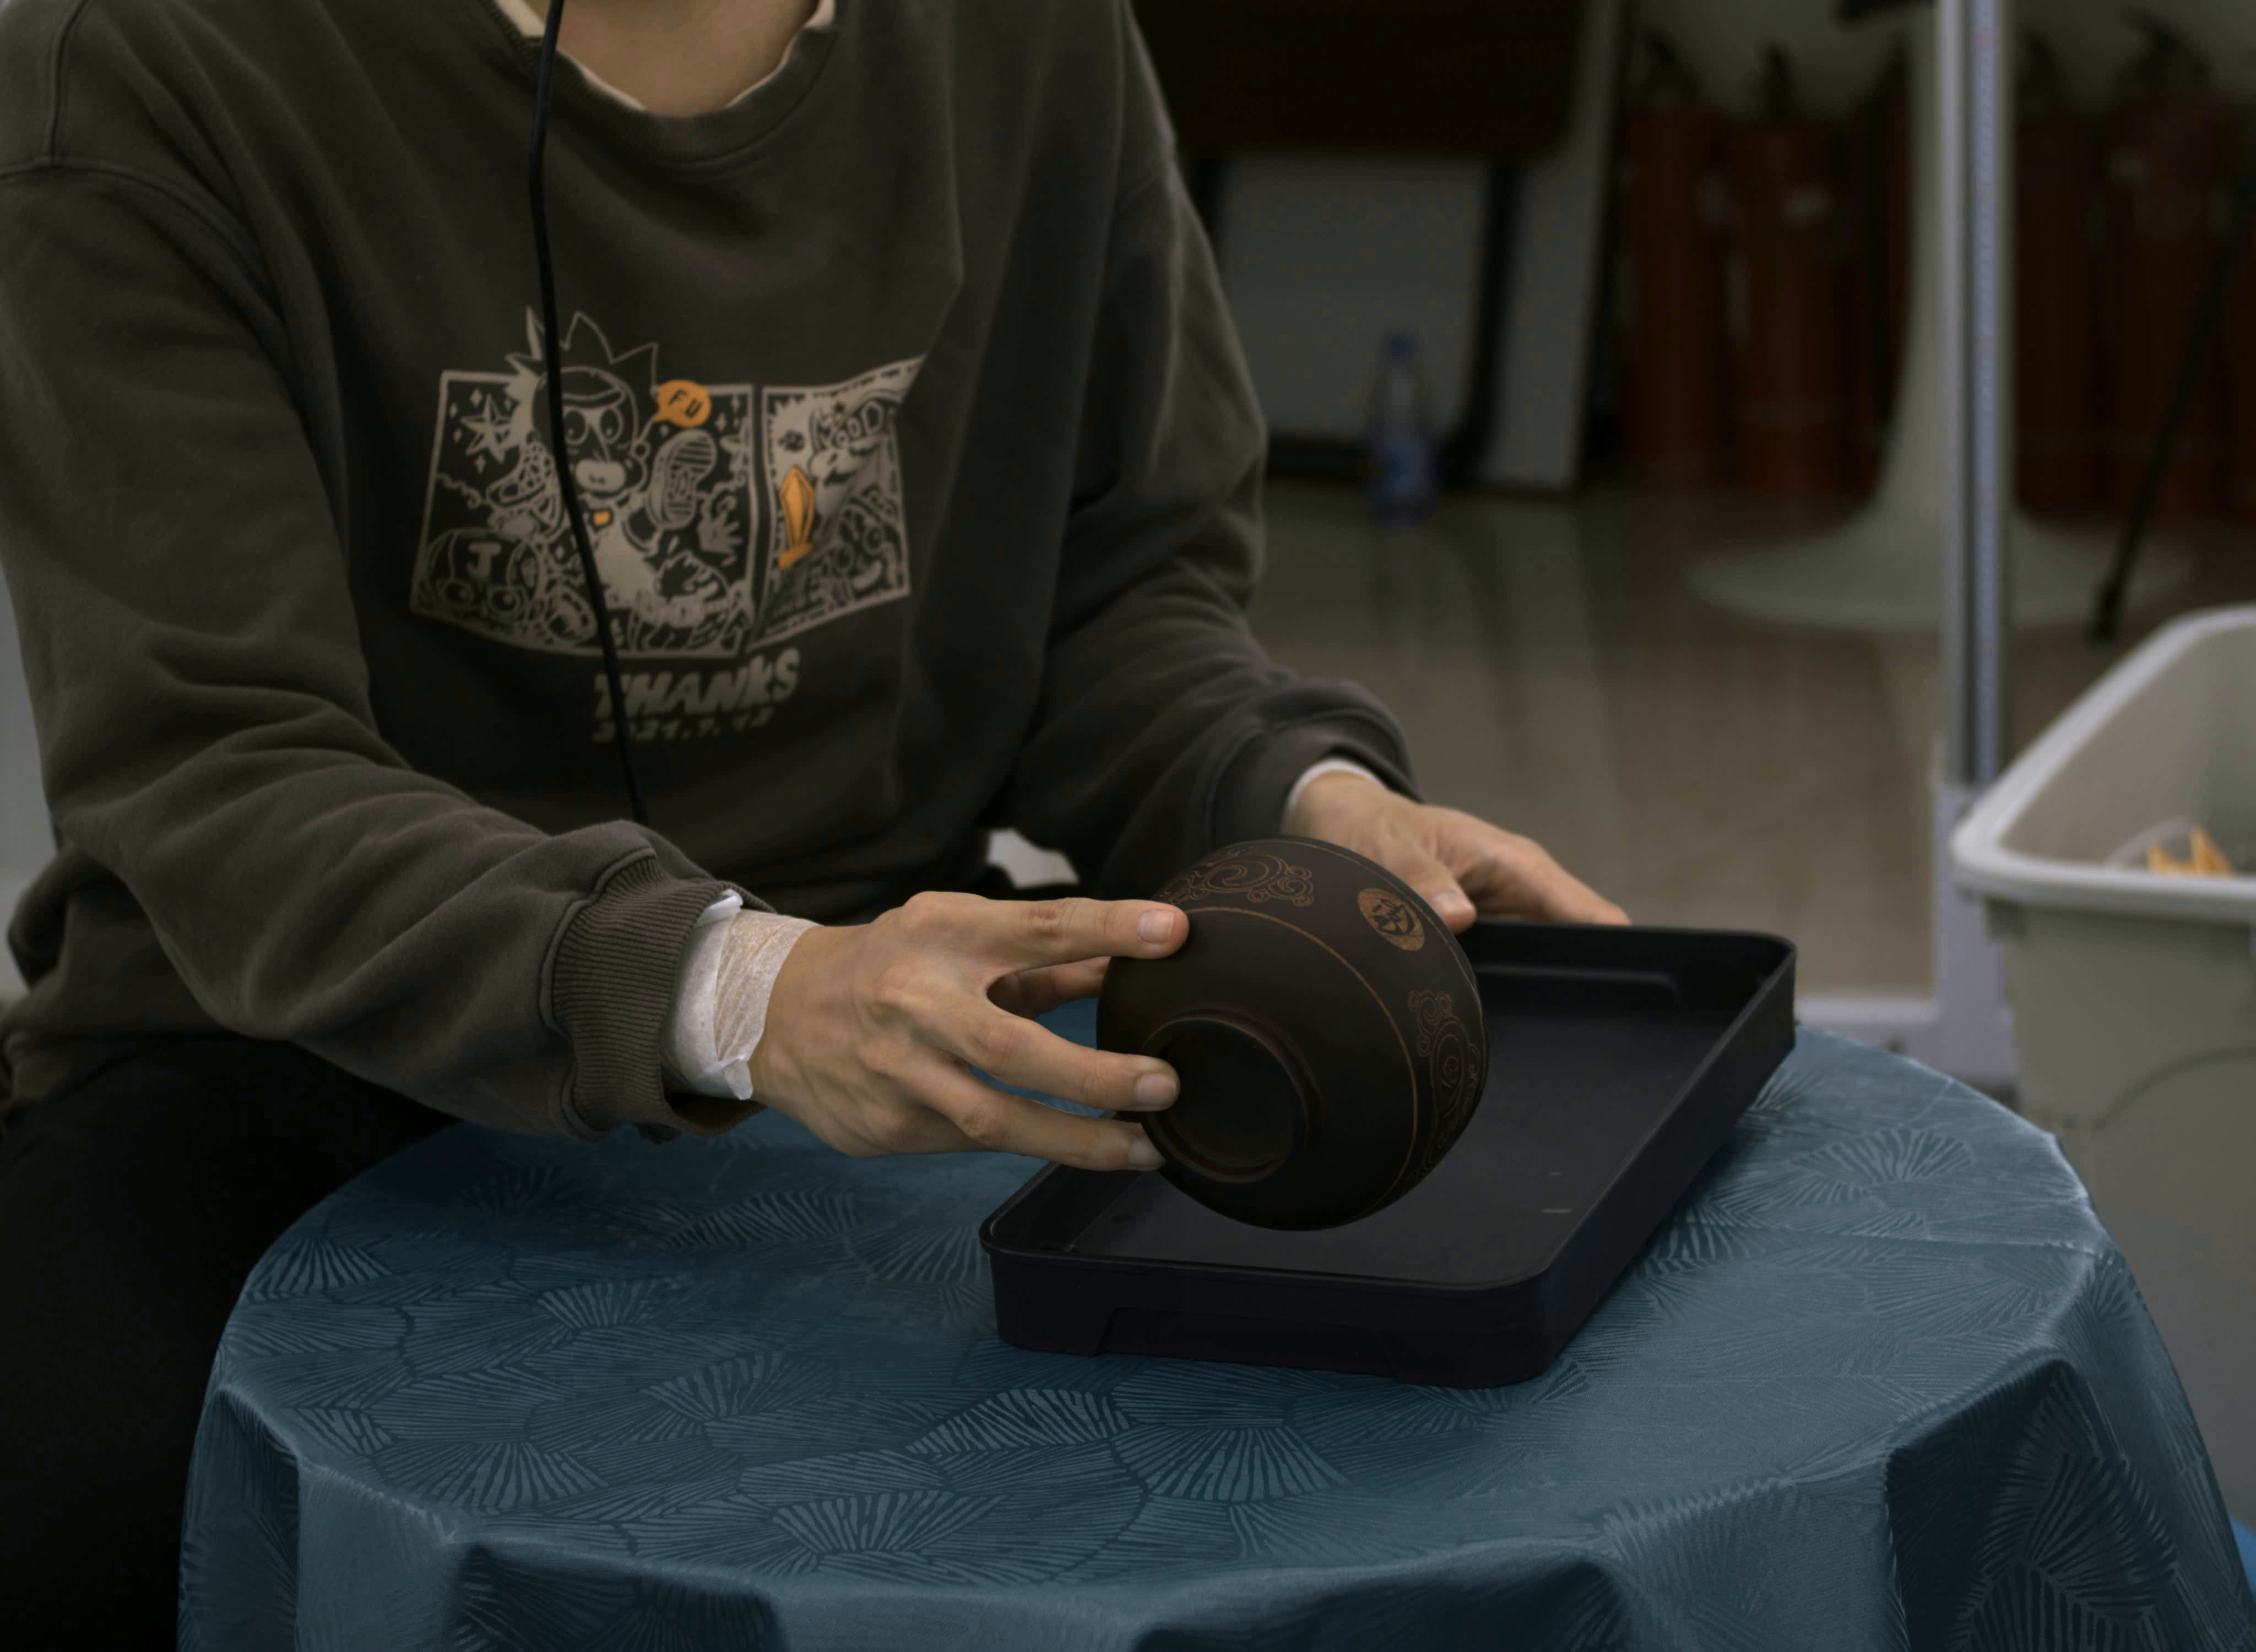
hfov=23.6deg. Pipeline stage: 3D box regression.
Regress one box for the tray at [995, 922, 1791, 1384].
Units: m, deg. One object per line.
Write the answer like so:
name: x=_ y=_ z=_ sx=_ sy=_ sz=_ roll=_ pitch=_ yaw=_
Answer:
tray: x=0.094 y=0.098 z=1.731 sx=0.184 sy=0.037 sz=0.315 roll=0 pitch=18 yaw=22

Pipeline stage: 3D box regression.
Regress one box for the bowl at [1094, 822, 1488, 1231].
bowl: x=0.041 y=0.066 z=1.586 sx=0.118 sy=0.119 sz=0.069 roll=4 pitch=24 yaw=28
